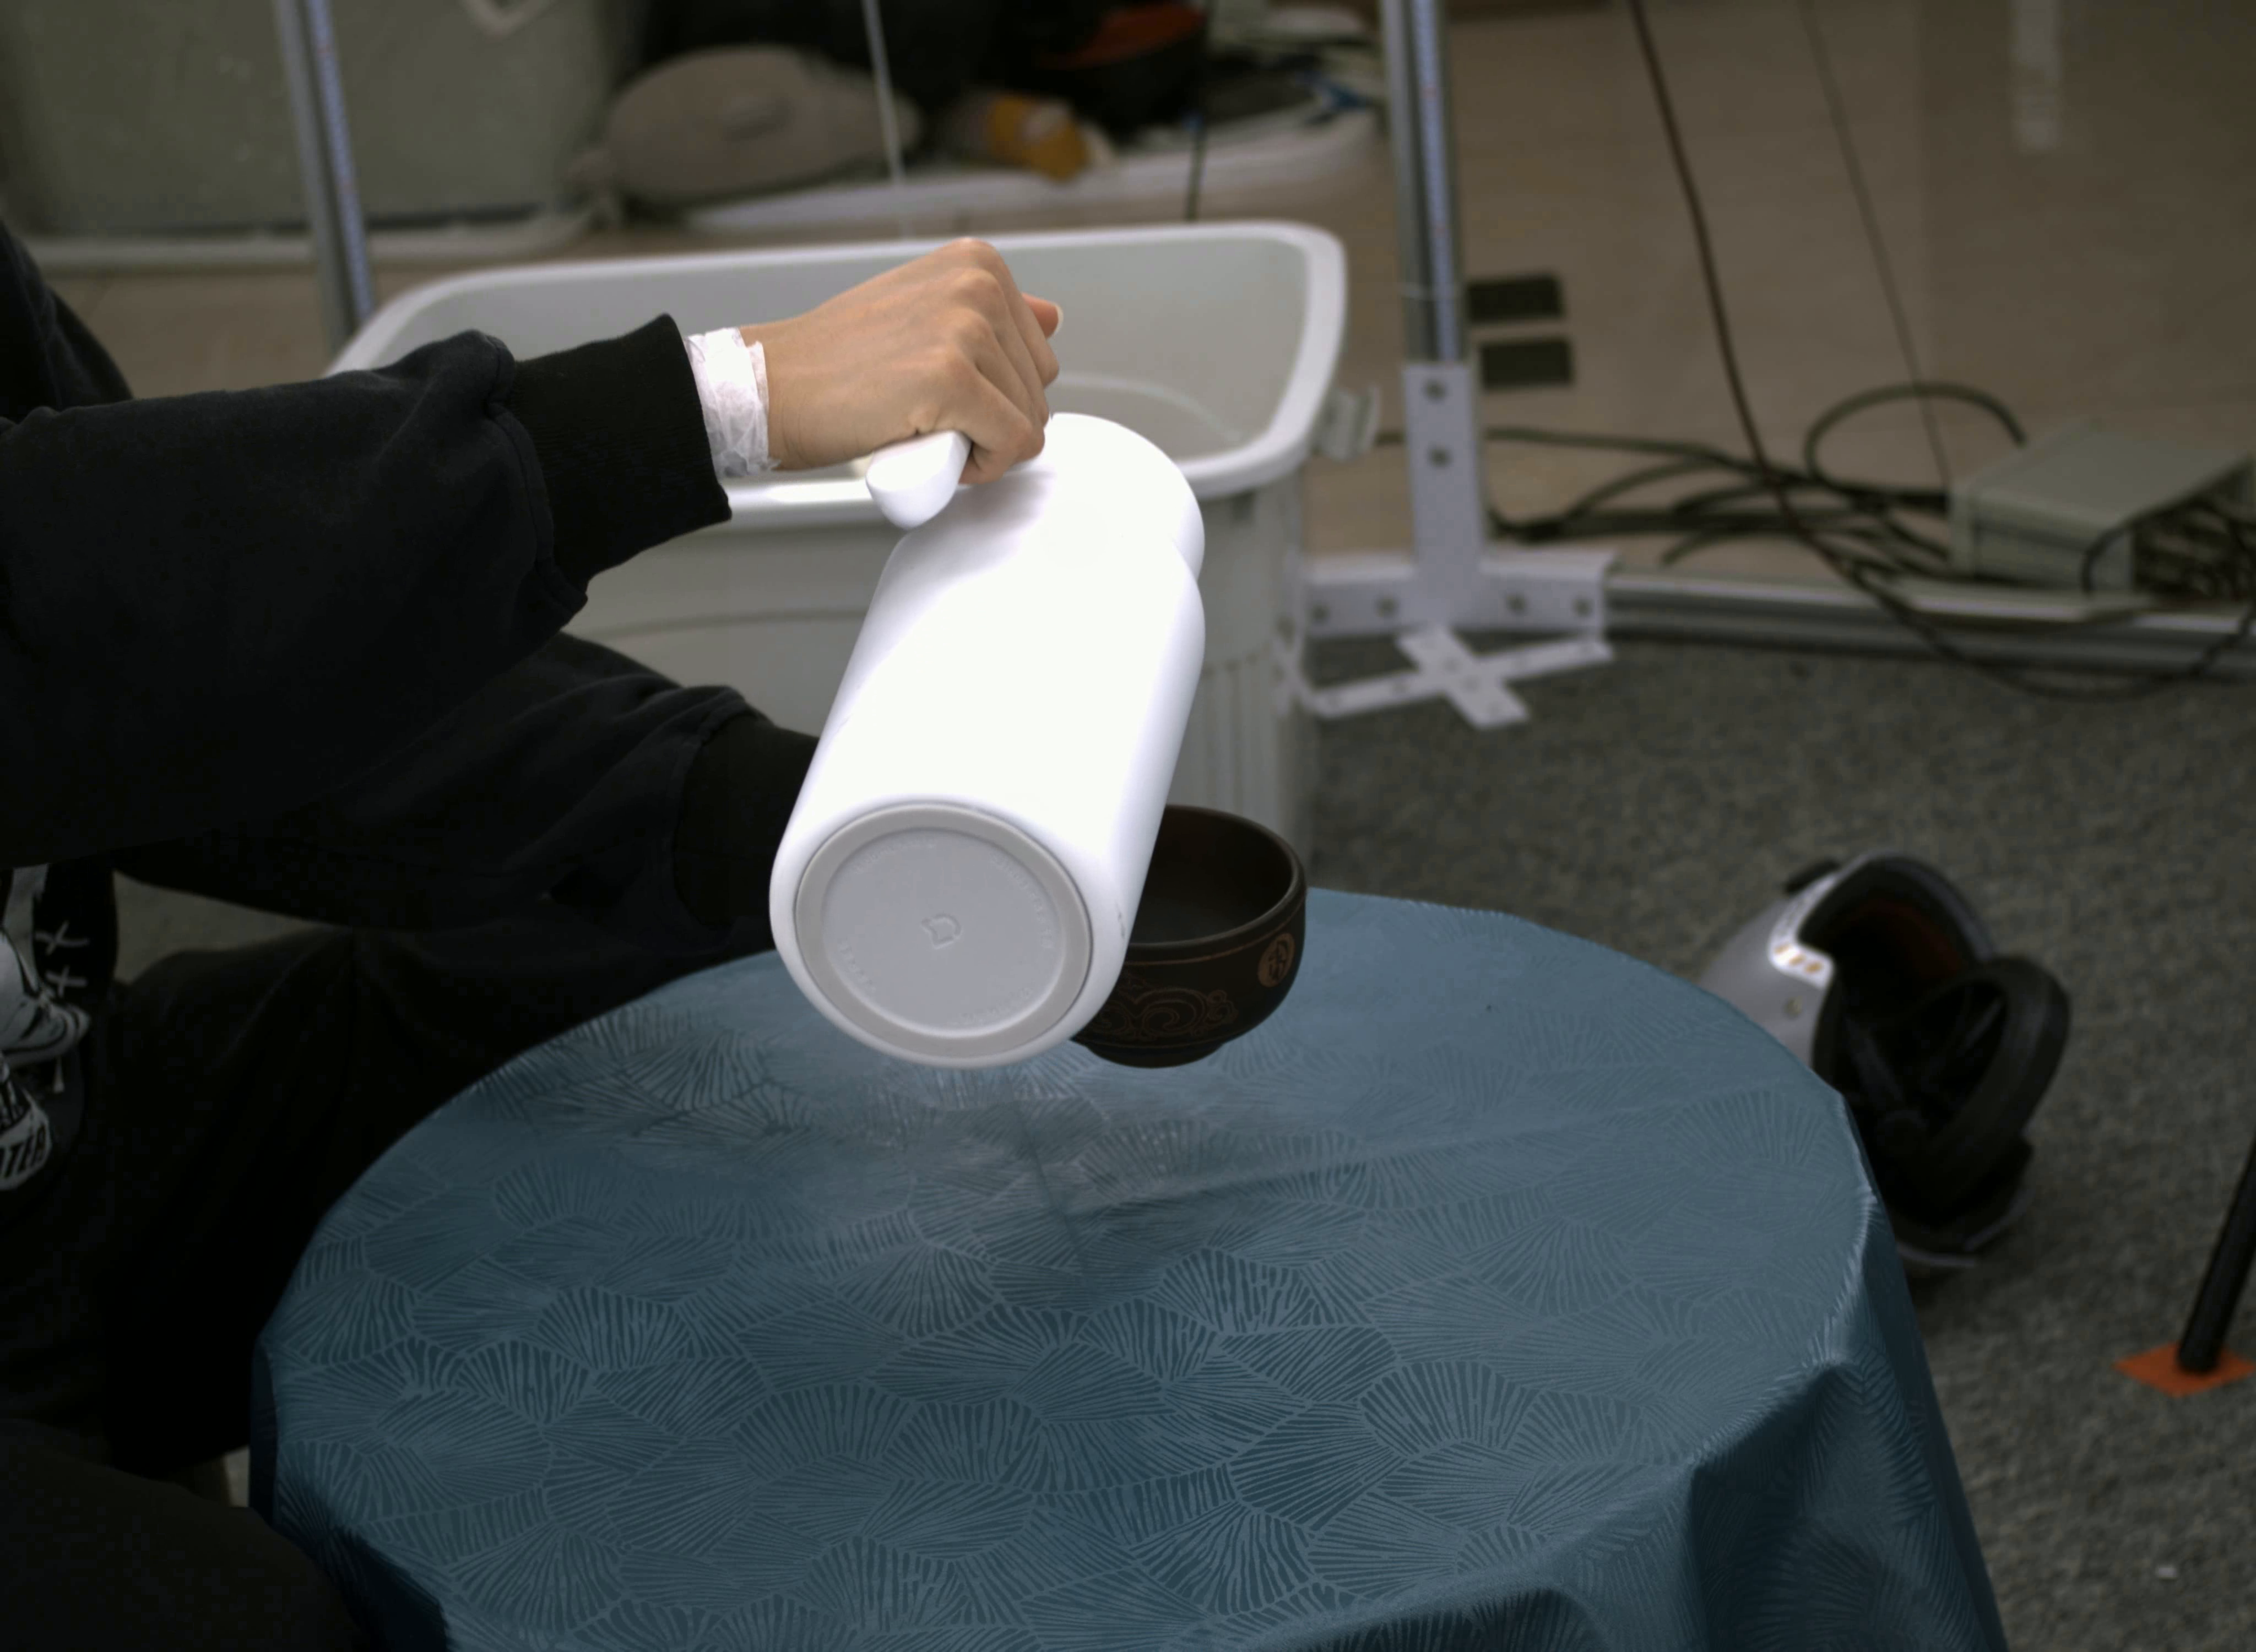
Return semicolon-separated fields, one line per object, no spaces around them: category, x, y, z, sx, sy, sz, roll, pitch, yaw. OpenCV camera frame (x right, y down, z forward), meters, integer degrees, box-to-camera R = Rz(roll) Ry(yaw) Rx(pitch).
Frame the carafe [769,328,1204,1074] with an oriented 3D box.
carafe;-0.044;-0.049;1.917;0.124;0.176;0.264;-9;31;18

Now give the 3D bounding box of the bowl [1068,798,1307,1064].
bowl;0.009;0.046;2.131;0.118;0.071;0.116;-2;29;1
